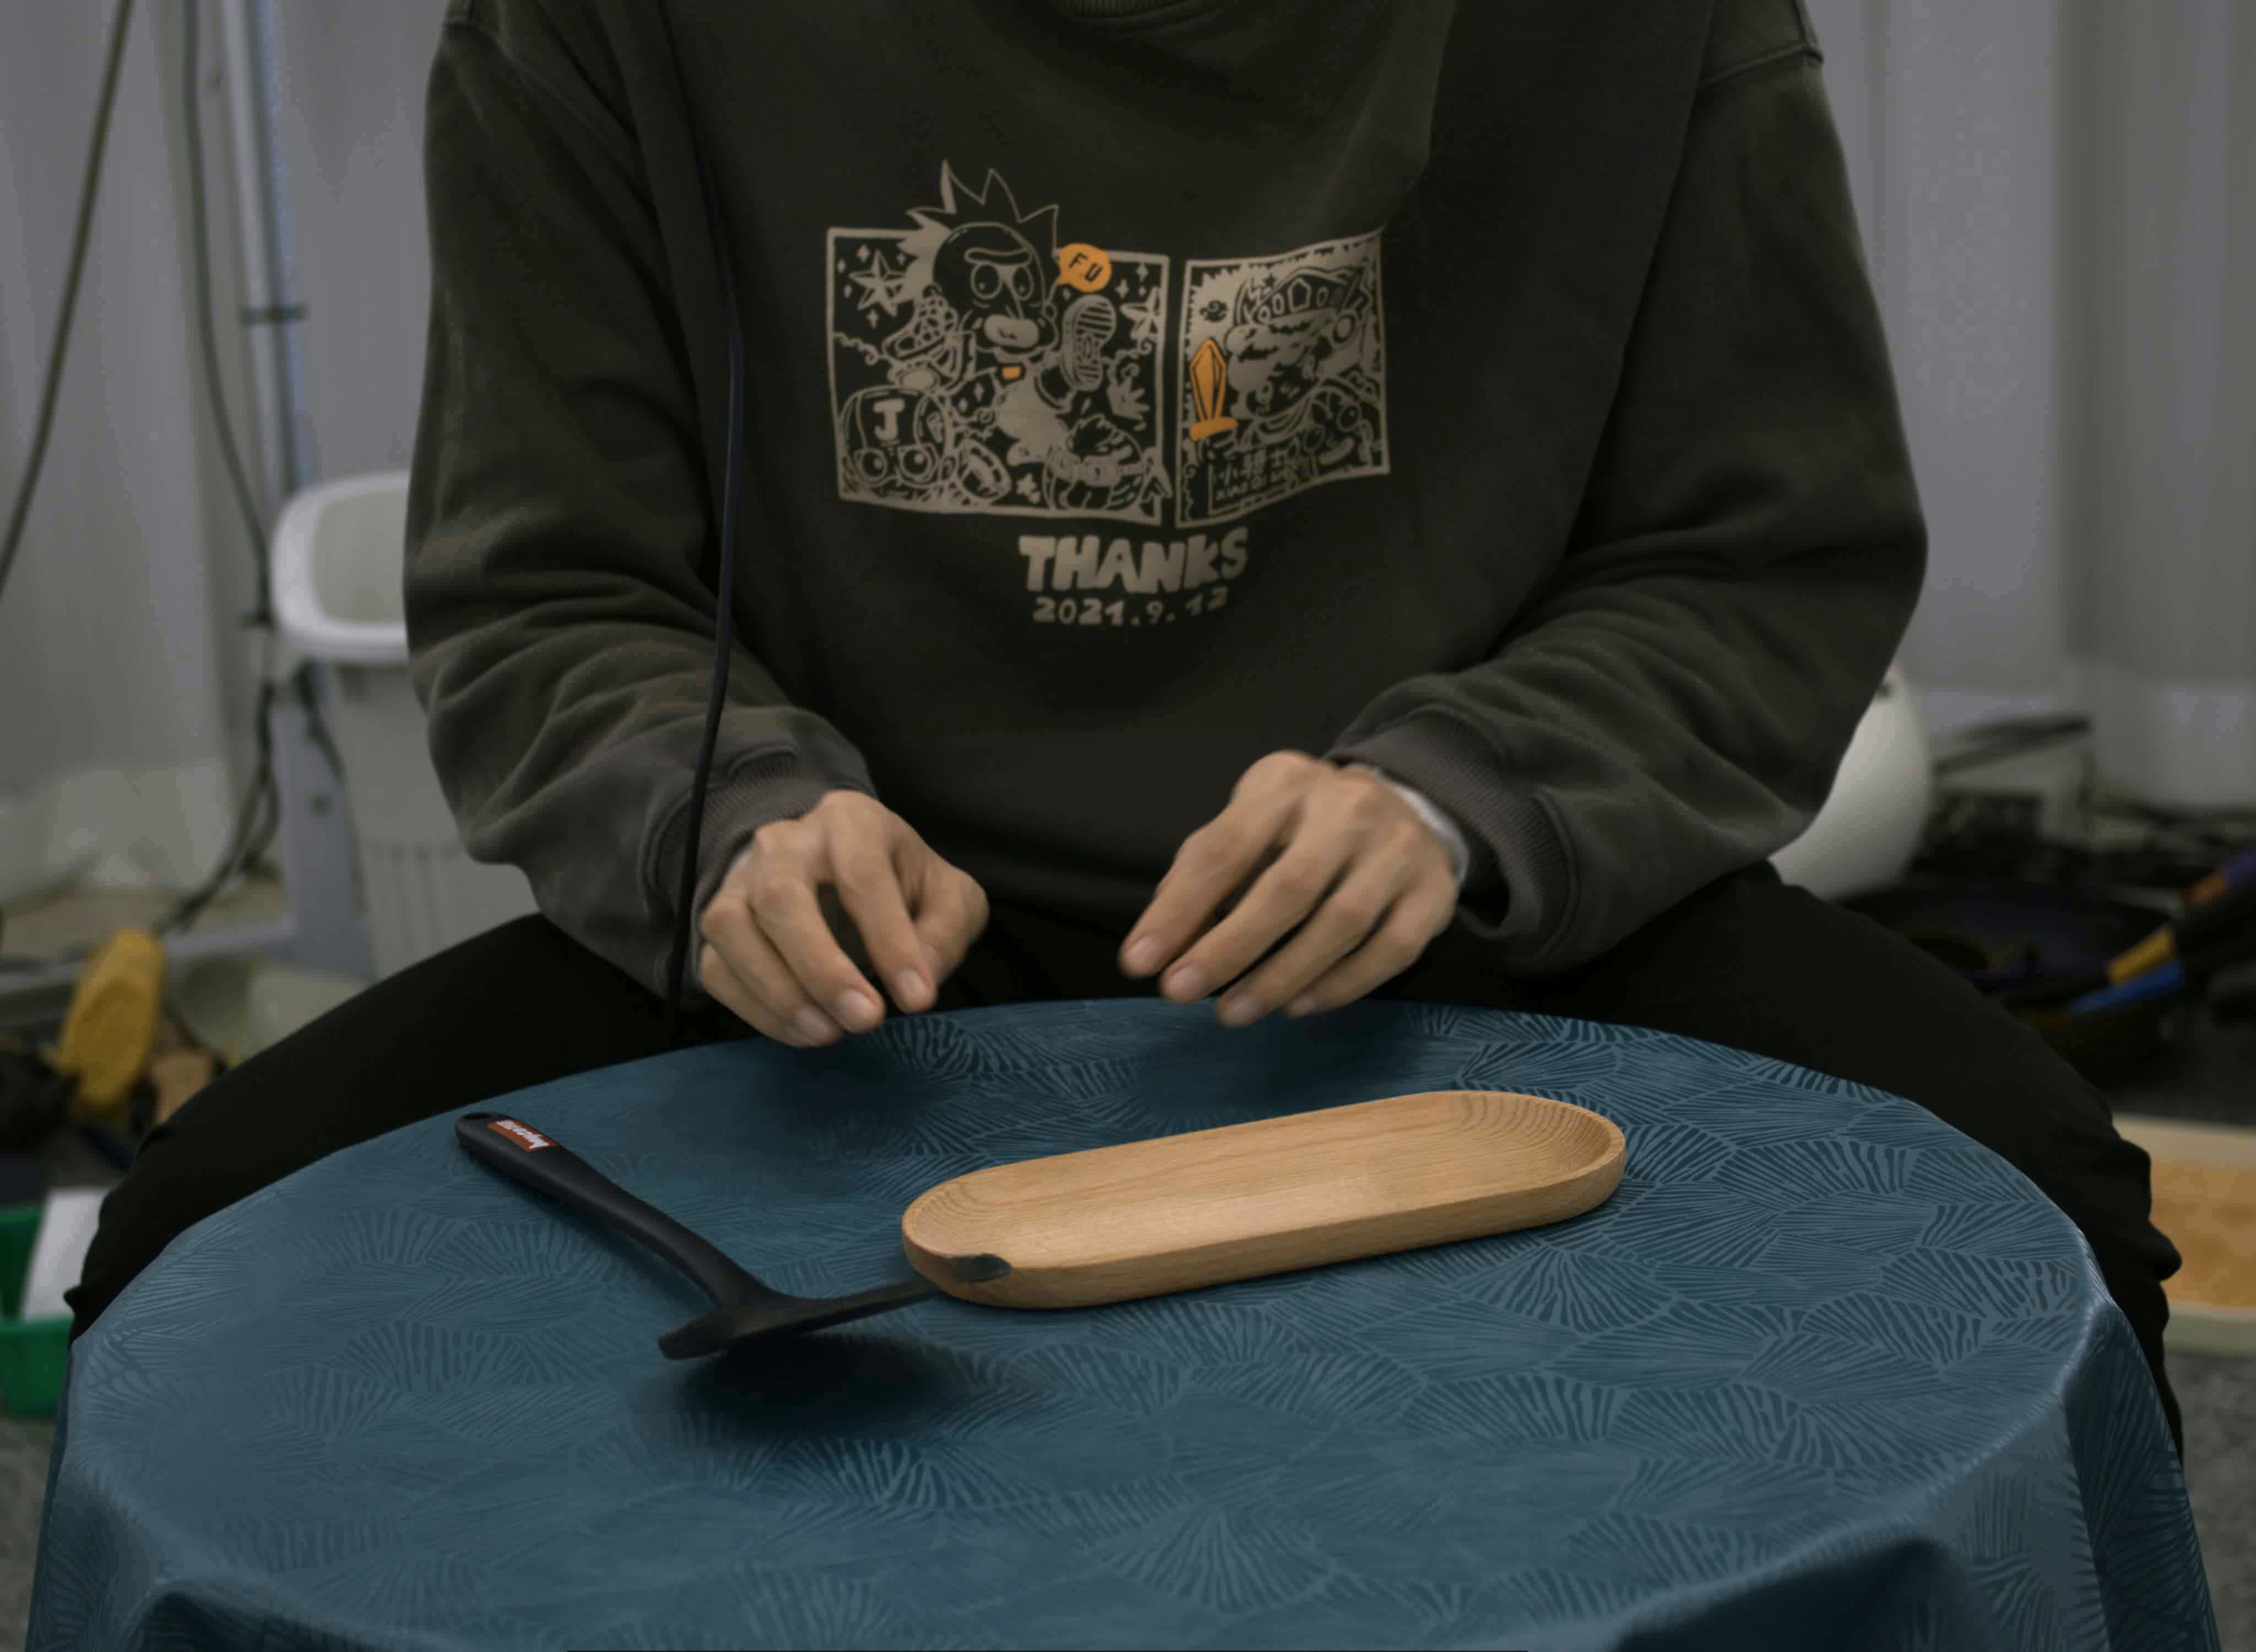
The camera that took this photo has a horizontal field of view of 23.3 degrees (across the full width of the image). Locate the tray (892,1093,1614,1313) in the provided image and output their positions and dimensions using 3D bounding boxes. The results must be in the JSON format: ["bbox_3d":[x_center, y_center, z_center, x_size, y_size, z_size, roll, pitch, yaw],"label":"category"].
[{"bbox_3d":[0.040,0.116,1.681,0.230,0.020,0.102,-10,16,-19],"label":"tray"}]

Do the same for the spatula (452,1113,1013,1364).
[{"bbox_3d":[-0.145,0.118,1.668,0.099,0.040,0.328,-9,16,-26],"label":"spatula"}]
